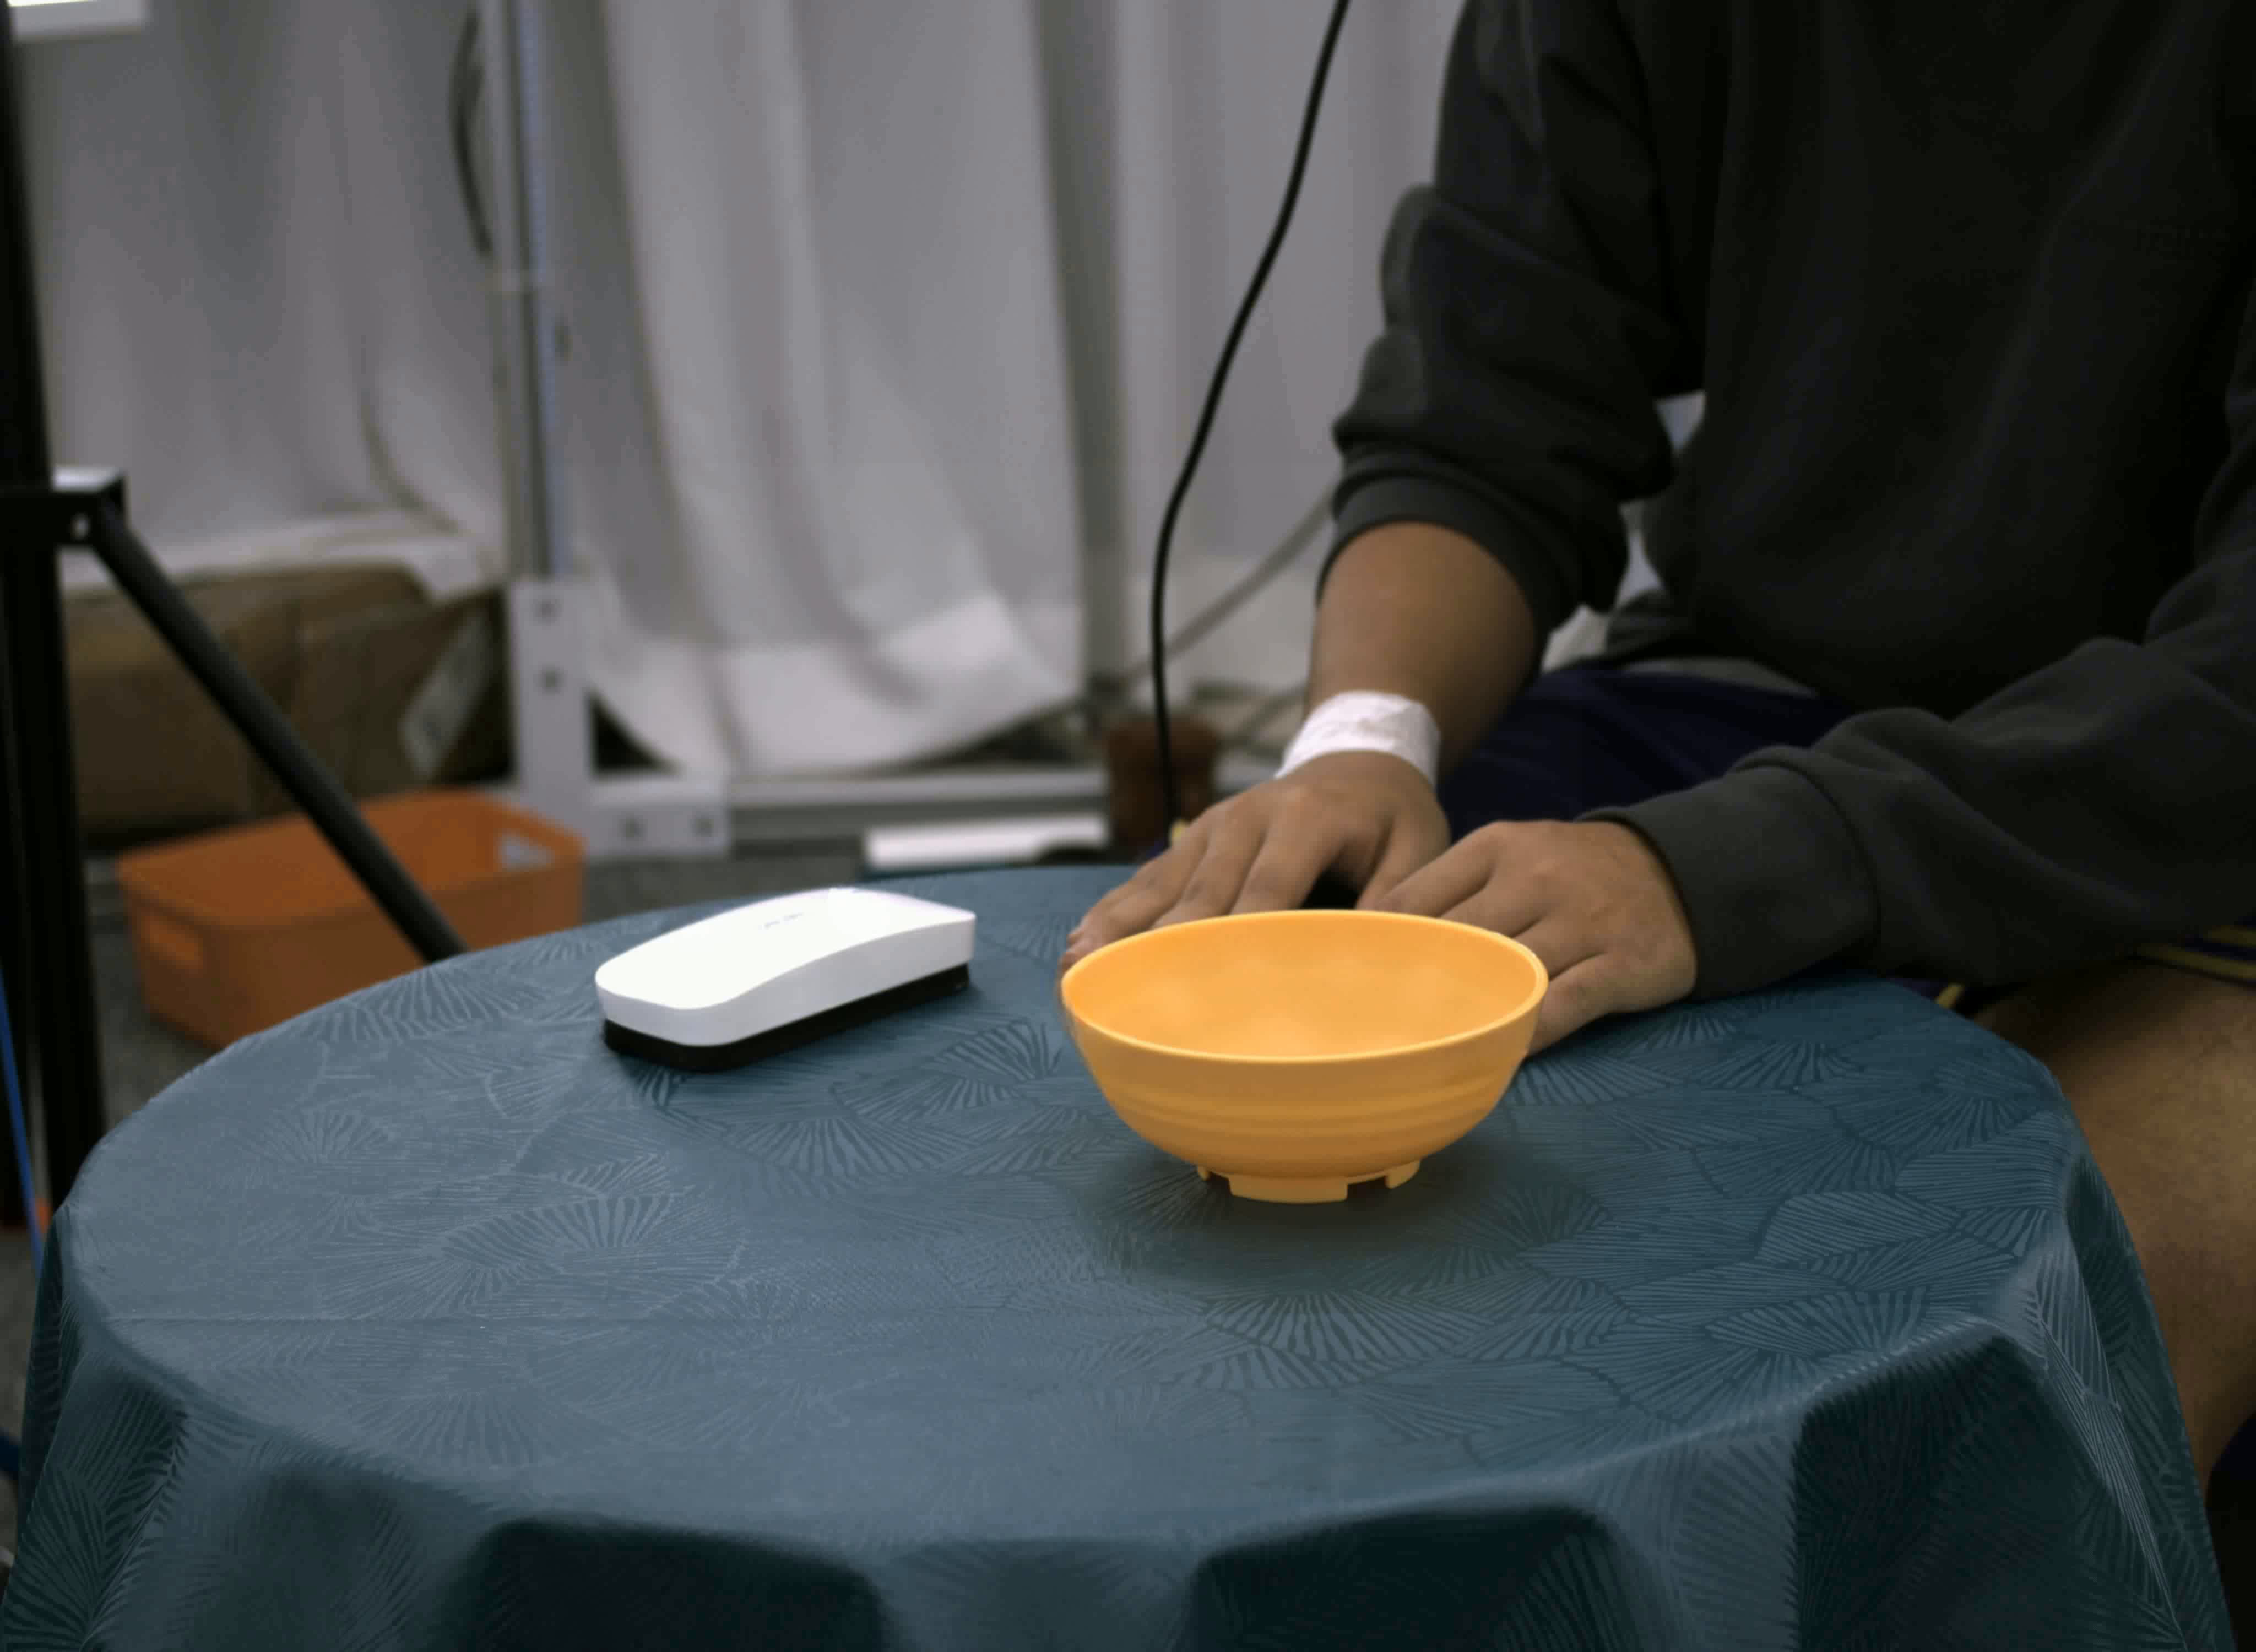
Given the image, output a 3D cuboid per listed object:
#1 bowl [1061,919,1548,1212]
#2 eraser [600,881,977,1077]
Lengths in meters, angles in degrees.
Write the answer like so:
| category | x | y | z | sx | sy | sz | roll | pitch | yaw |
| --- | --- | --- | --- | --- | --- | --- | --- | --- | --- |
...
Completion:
| category | x | y | z | sx | sy | sz | roll | pitch | yaw |
| --- | --- | --- | --- | --- | --- | --- | --- | --- | --- |
| bowl | 0.052 | 0.076 | 1.568 | 0.144 | 0.060 | 0.146 | -1 | 15 | -1 |
| eraser | -0.108 | 0.046 | 1.738 | 0.065 | 0.034 | 0.128 | 14 | 24 | 43 |
